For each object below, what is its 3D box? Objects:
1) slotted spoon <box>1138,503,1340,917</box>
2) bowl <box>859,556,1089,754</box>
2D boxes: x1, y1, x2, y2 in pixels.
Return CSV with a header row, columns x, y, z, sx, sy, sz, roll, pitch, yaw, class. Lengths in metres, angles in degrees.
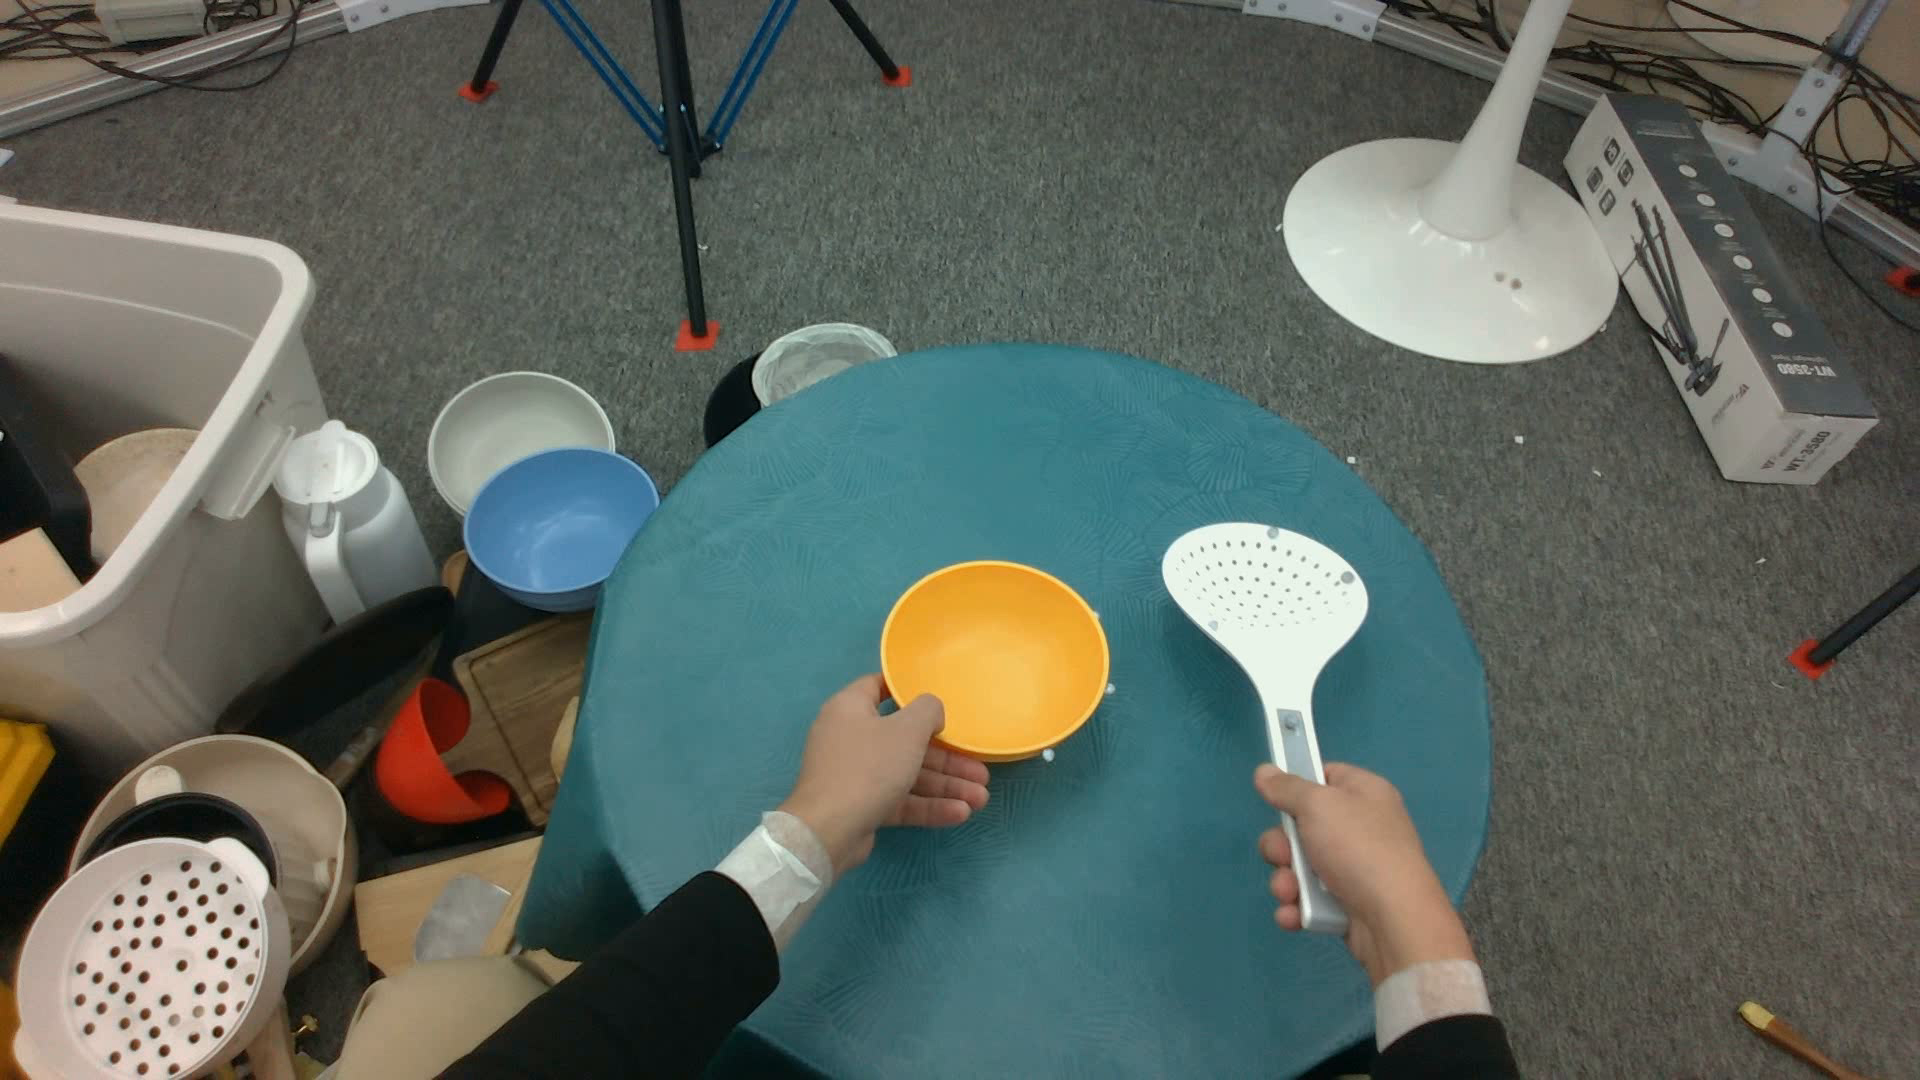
x,y,z,sx,sy,sz,roll,pitch,yaw,class
0.182,0.085,0.840,0.136,0.045,0.351,5,32,-1,slotted spoon
0.007,0.083,0.879,0.145,0.060,0.146,3,50,-3,bowl
